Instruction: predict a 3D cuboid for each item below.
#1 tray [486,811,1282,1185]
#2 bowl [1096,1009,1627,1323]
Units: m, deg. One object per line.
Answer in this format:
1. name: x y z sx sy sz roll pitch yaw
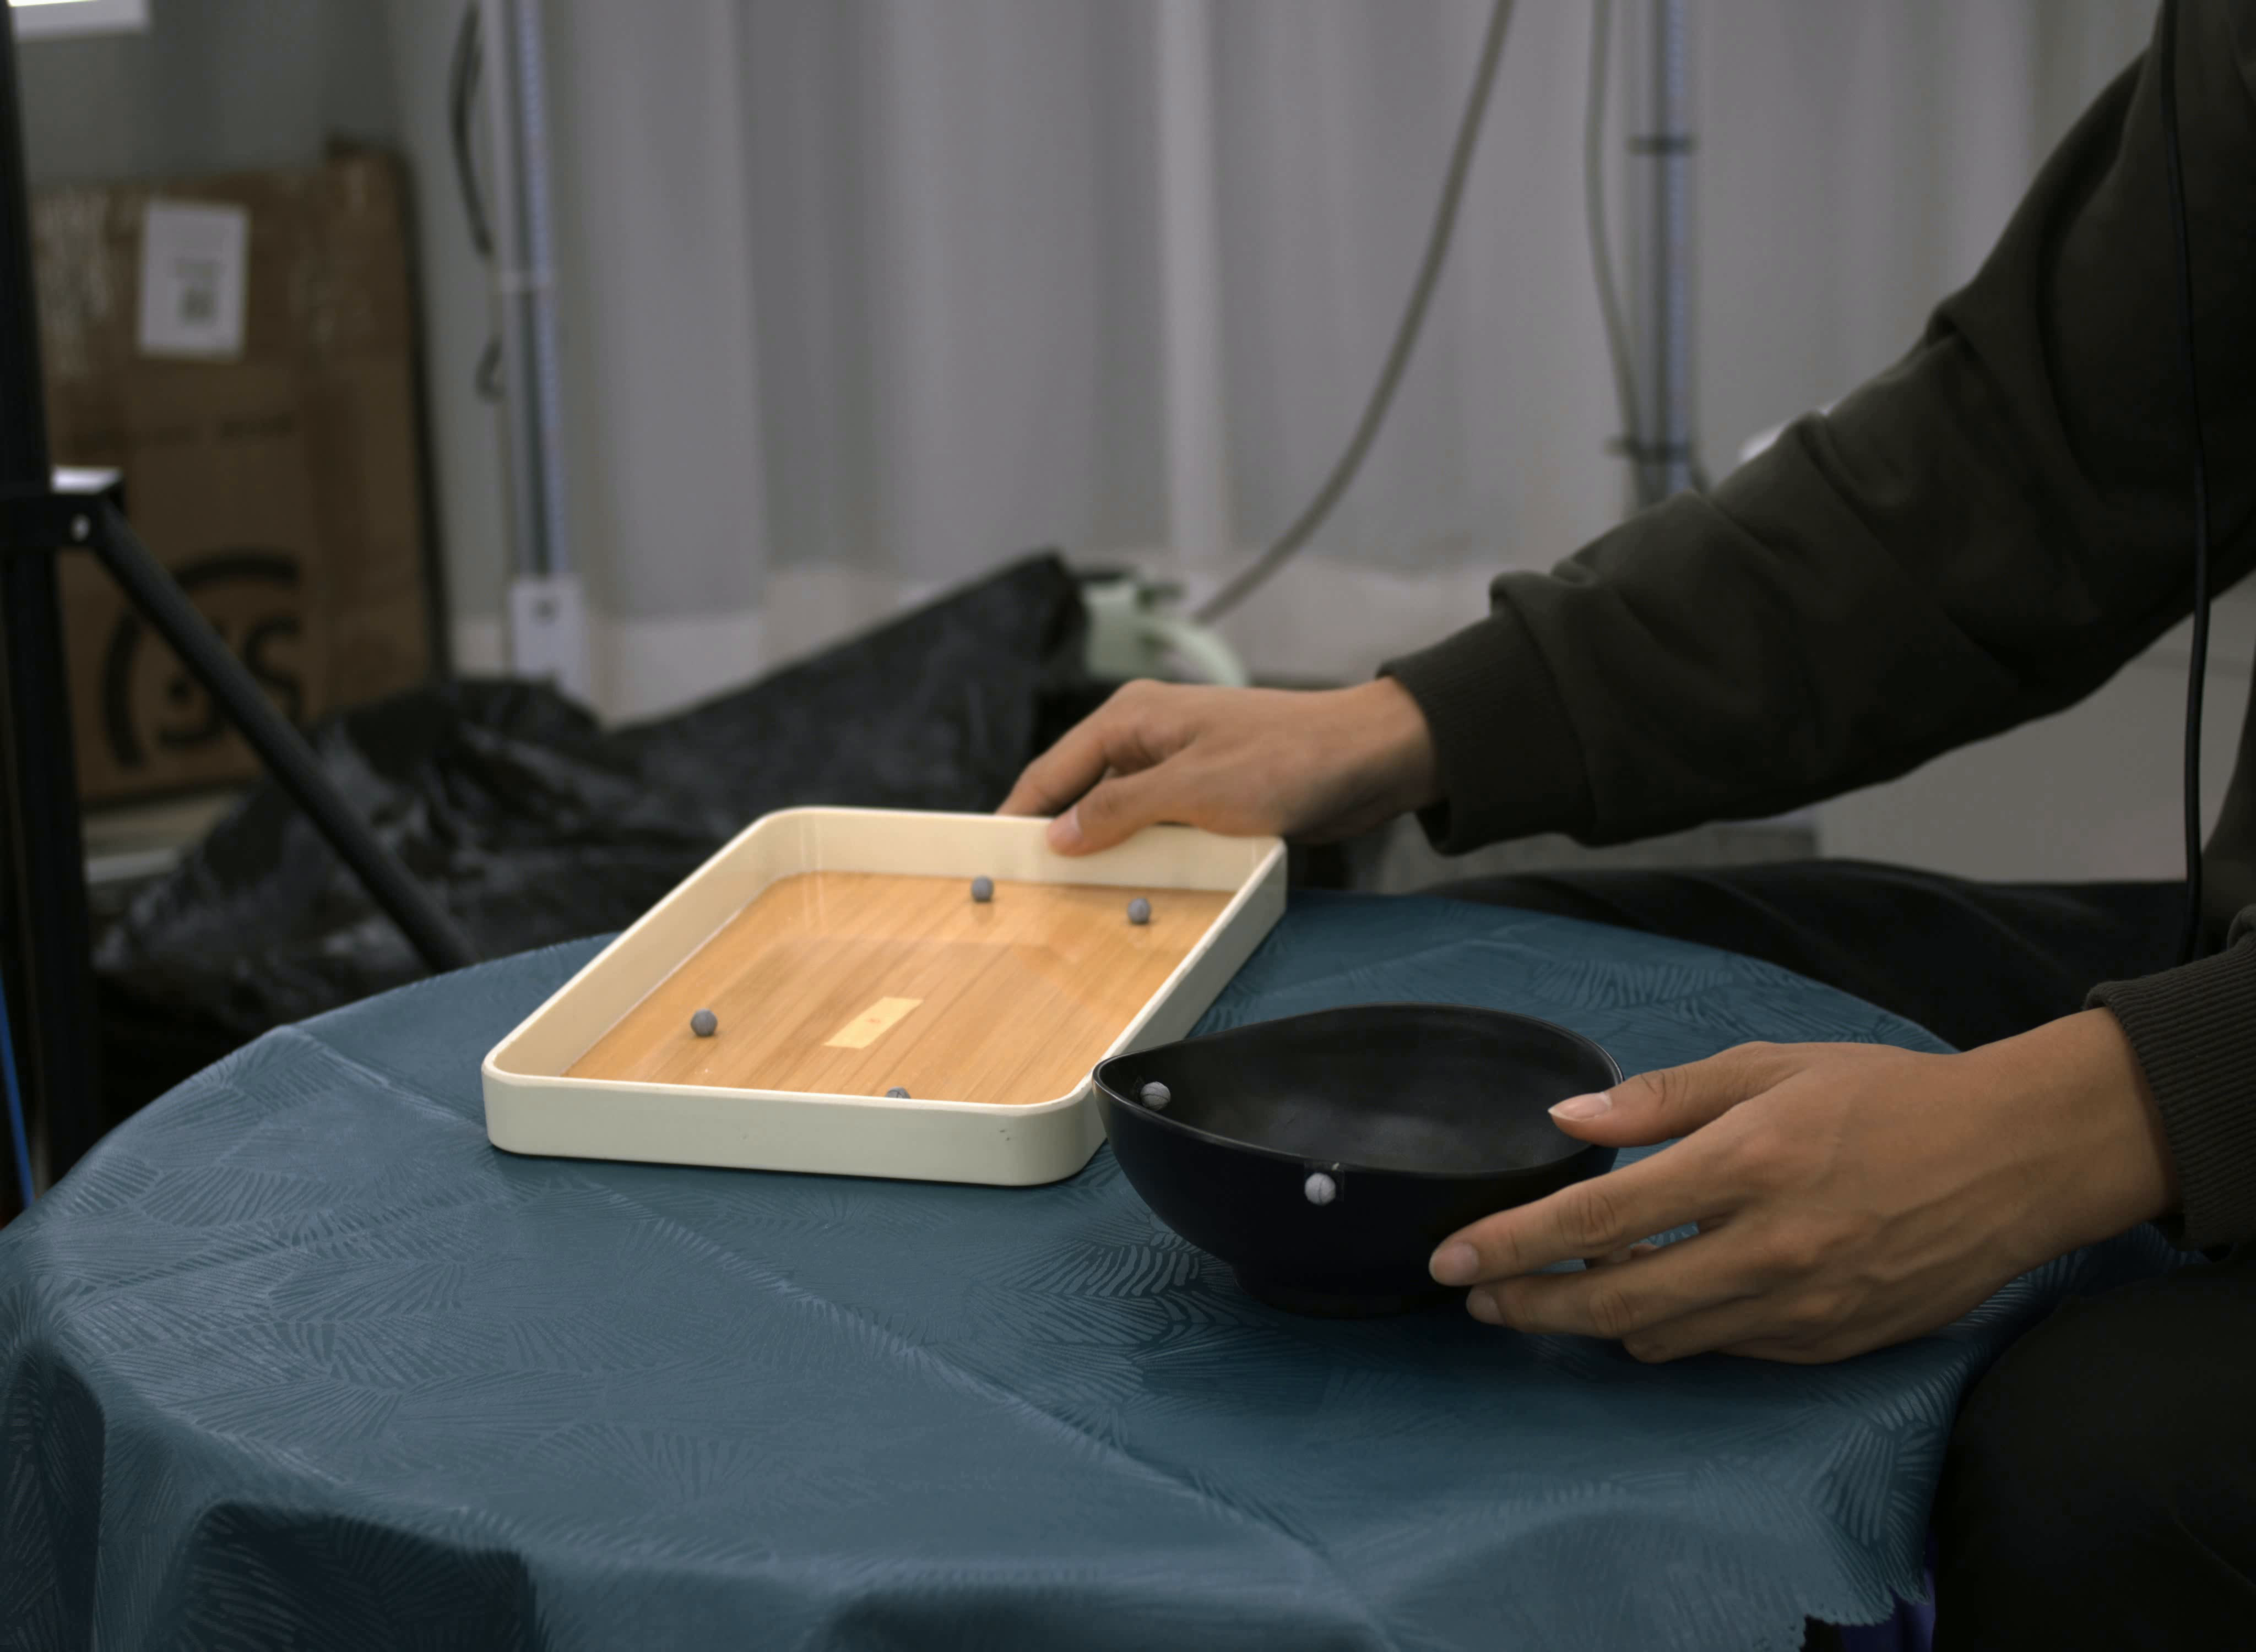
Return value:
1. tray: -0.071 0.051 1.722 0.193 0.027 0.298 2 17 15
2. bowl: 0.063 0.098 1.475 0.134 0.067 0.174 -11 16 -33
